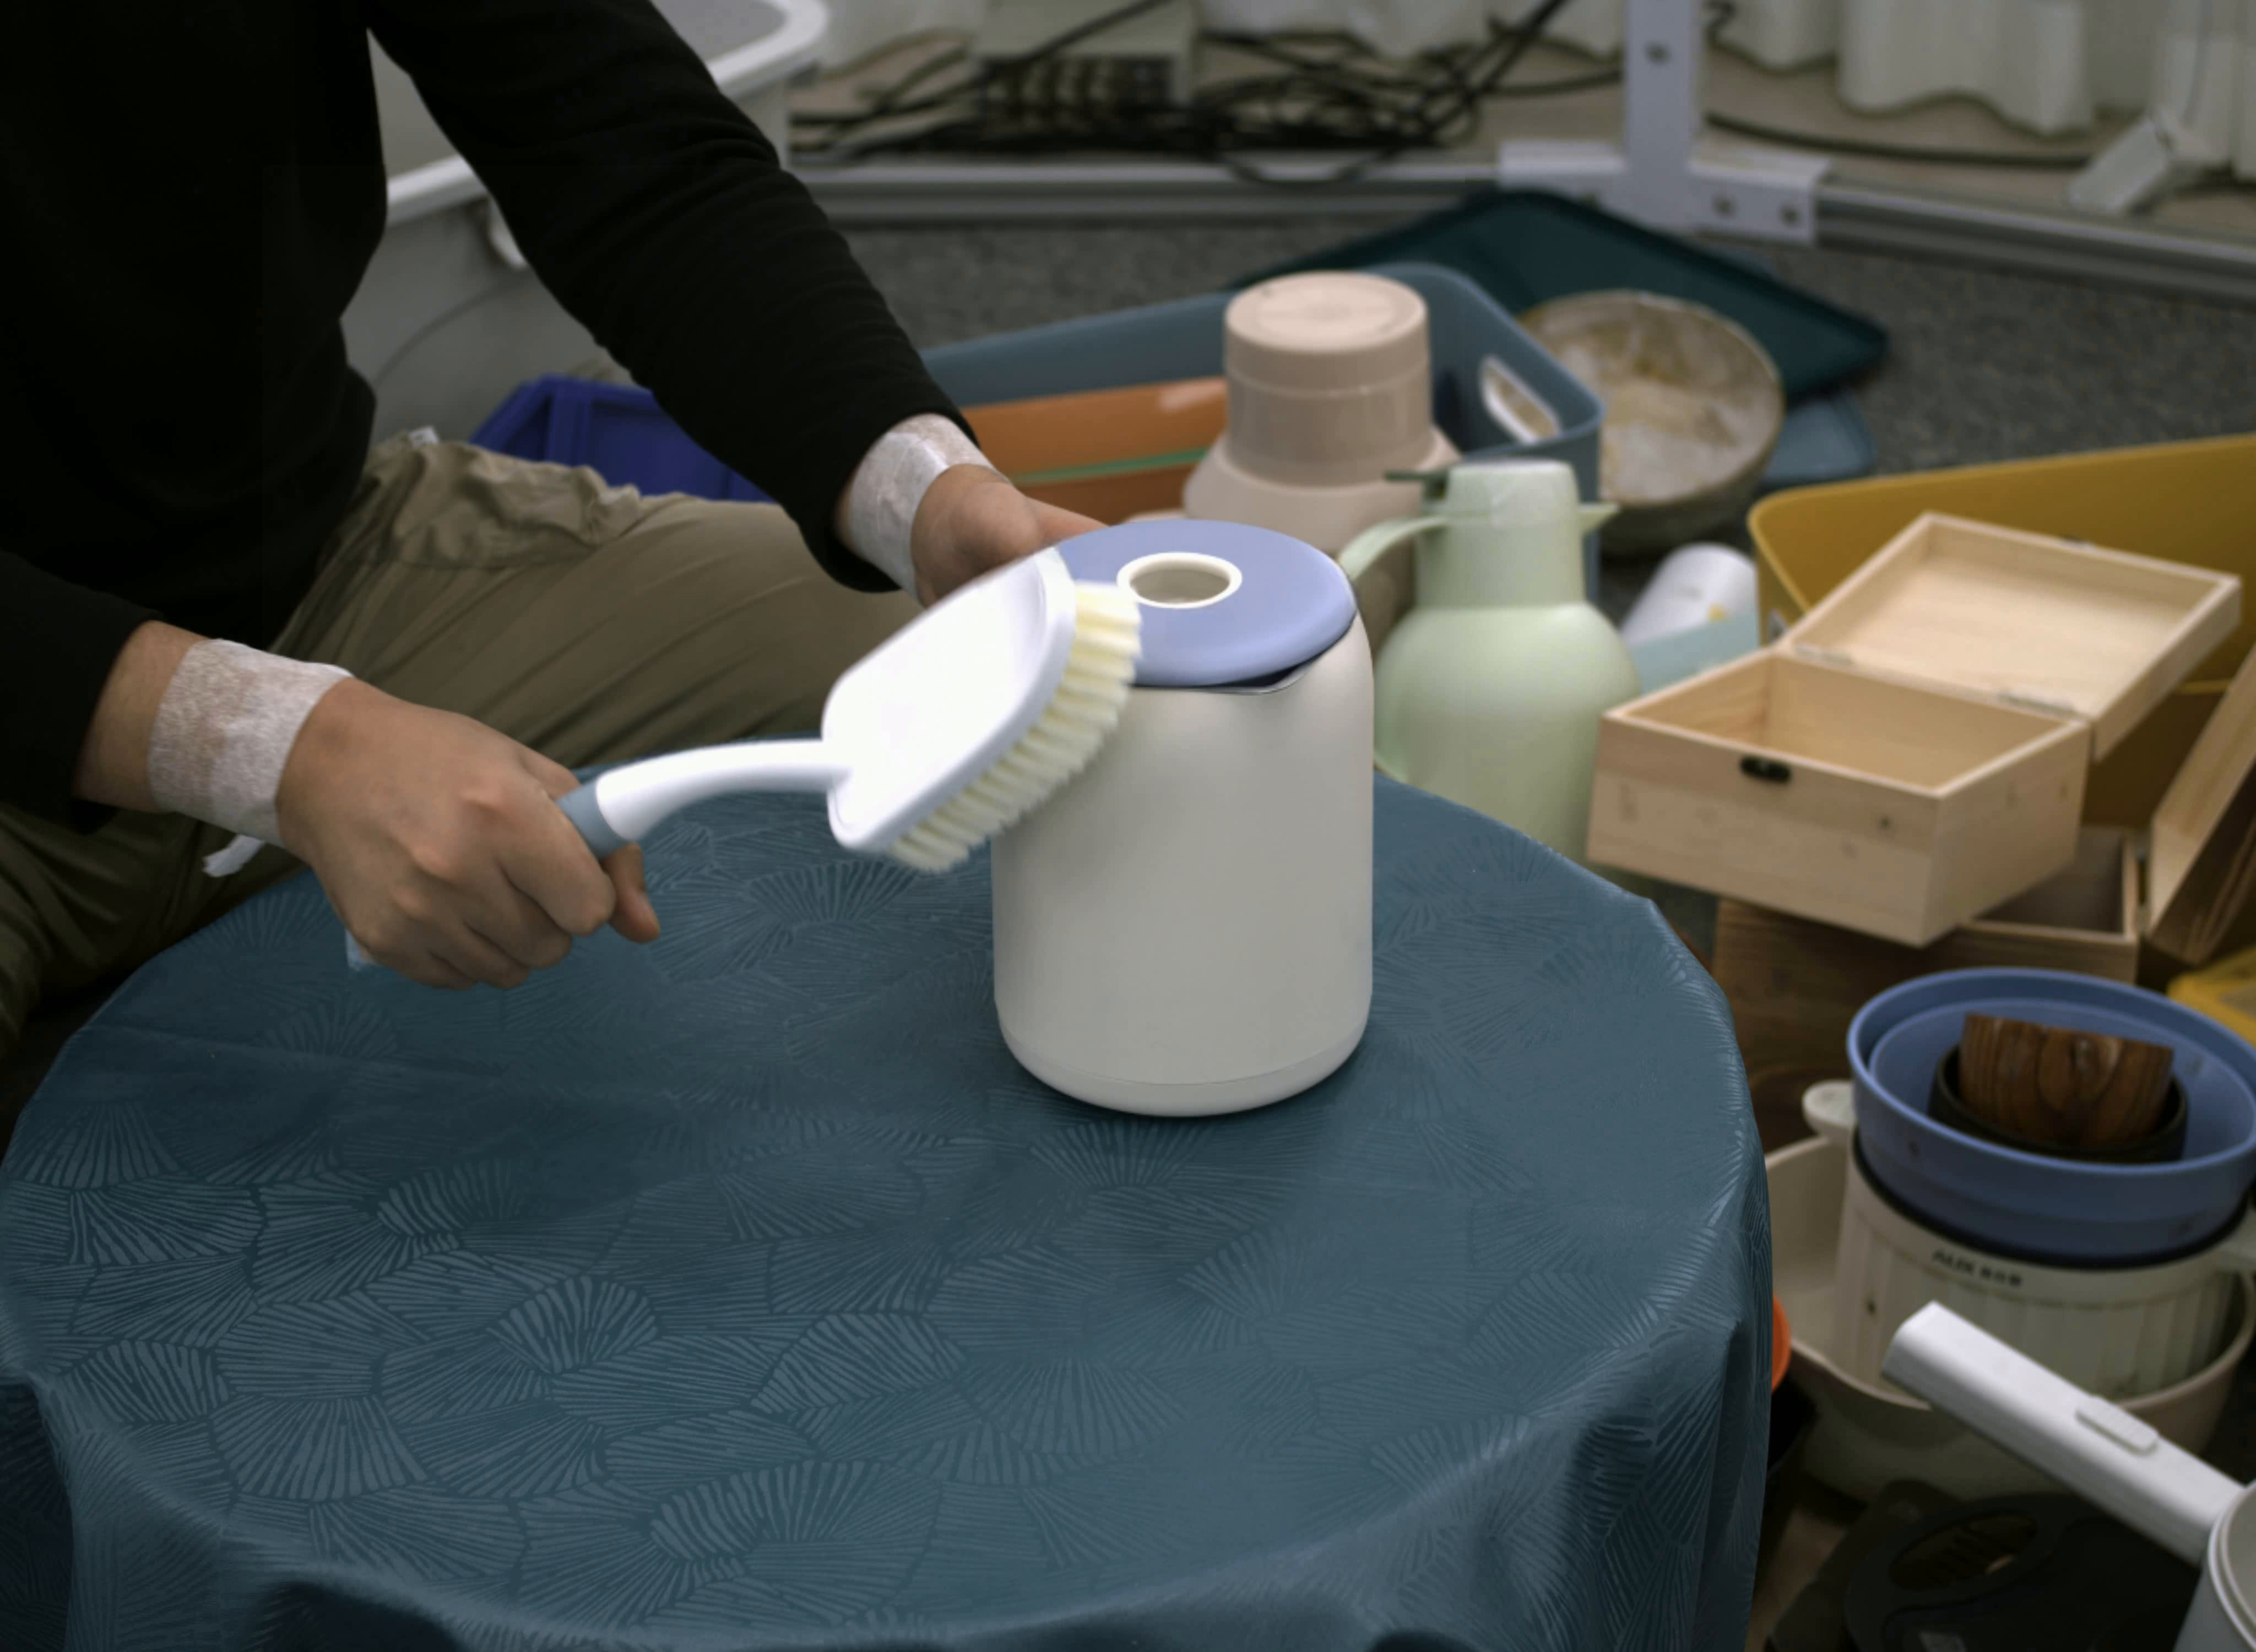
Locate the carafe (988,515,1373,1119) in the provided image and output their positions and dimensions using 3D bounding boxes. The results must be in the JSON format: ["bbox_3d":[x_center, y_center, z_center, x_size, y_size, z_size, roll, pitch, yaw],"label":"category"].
[{"bbox_3d":[0.006,-0.013,1.932,0.133,0.180,0.192,-14,29,-26],"label":"carafe"}]

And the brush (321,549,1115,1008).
[{"bbox_3d":[-0.130,-0.004,1.873,0.321,0.084,0.084,-28,13,25],"label":"brush"}]
